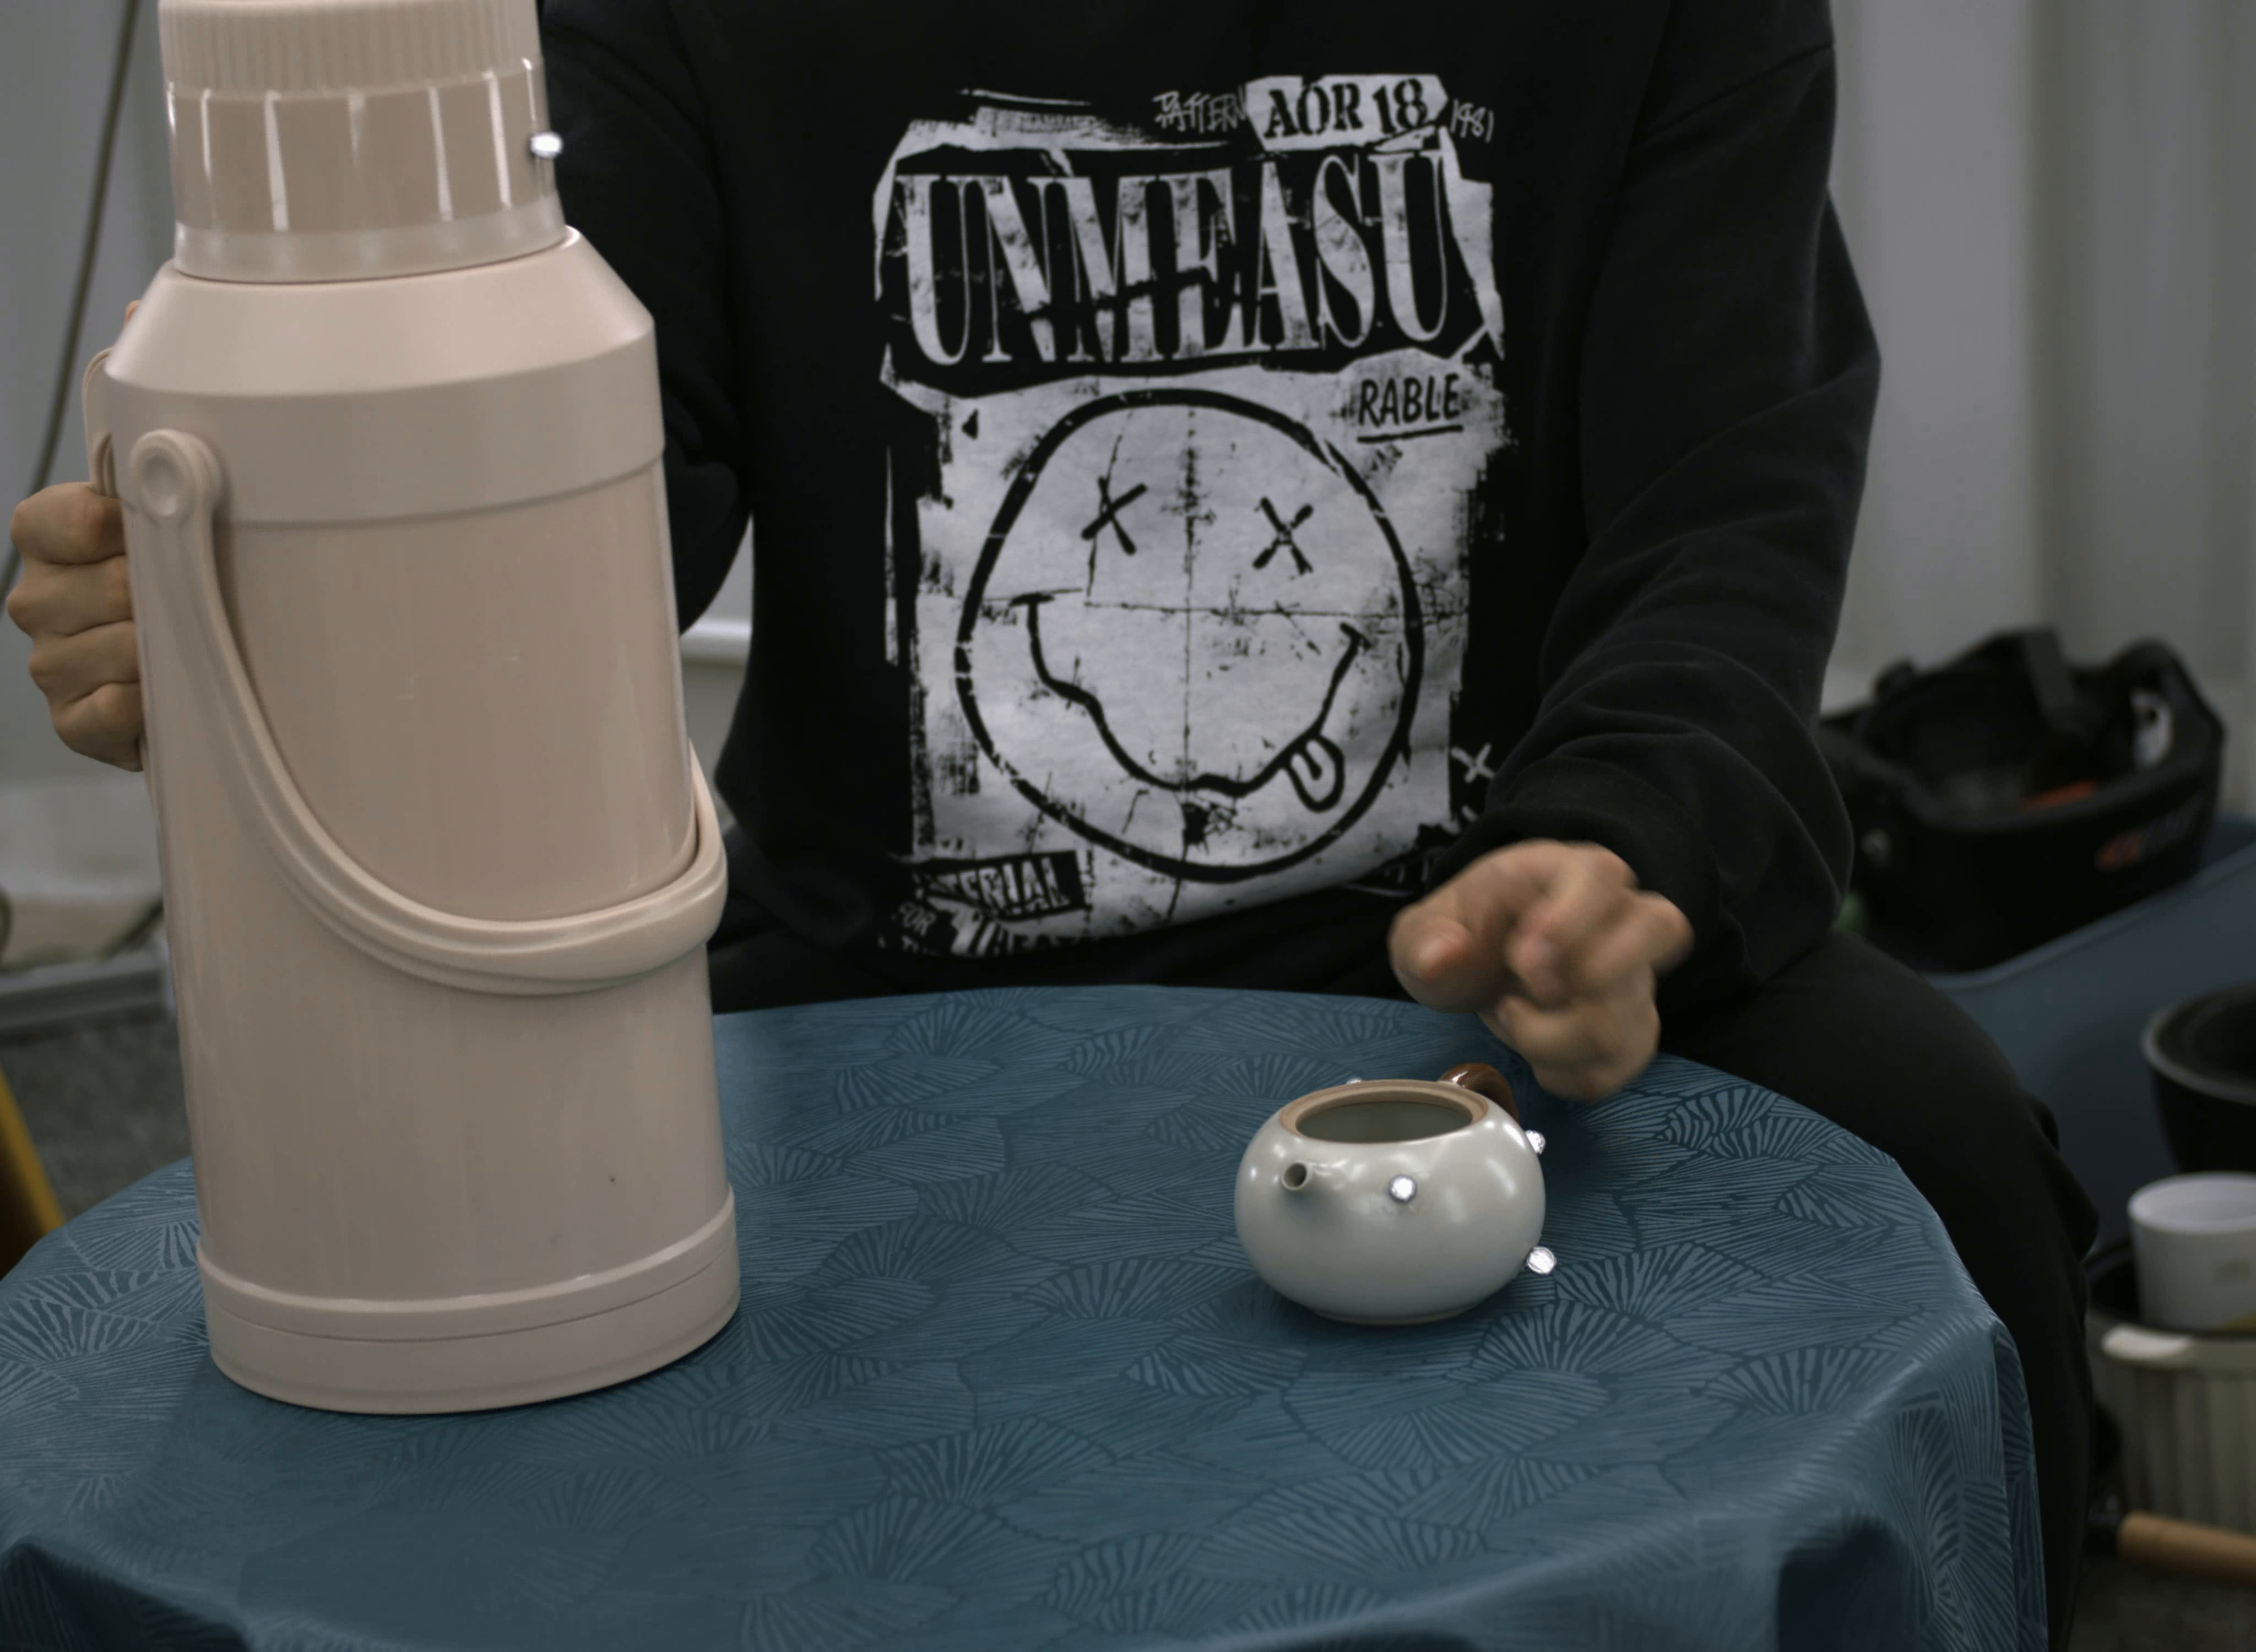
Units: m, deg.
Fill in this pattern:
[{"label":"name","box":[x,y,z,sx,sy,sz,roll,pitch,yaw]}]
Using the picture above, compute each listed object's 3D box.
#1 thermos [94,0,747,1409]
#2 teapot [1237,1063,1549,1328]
[{"label":"thermos","box":[-0.214,-0.046,1.594,0.208,0.404,0.175,7,18,36]},{"label":"teapot","box":[0.082,0.108,1.609,0.092,0.059,0.128,2,15,31]}]
